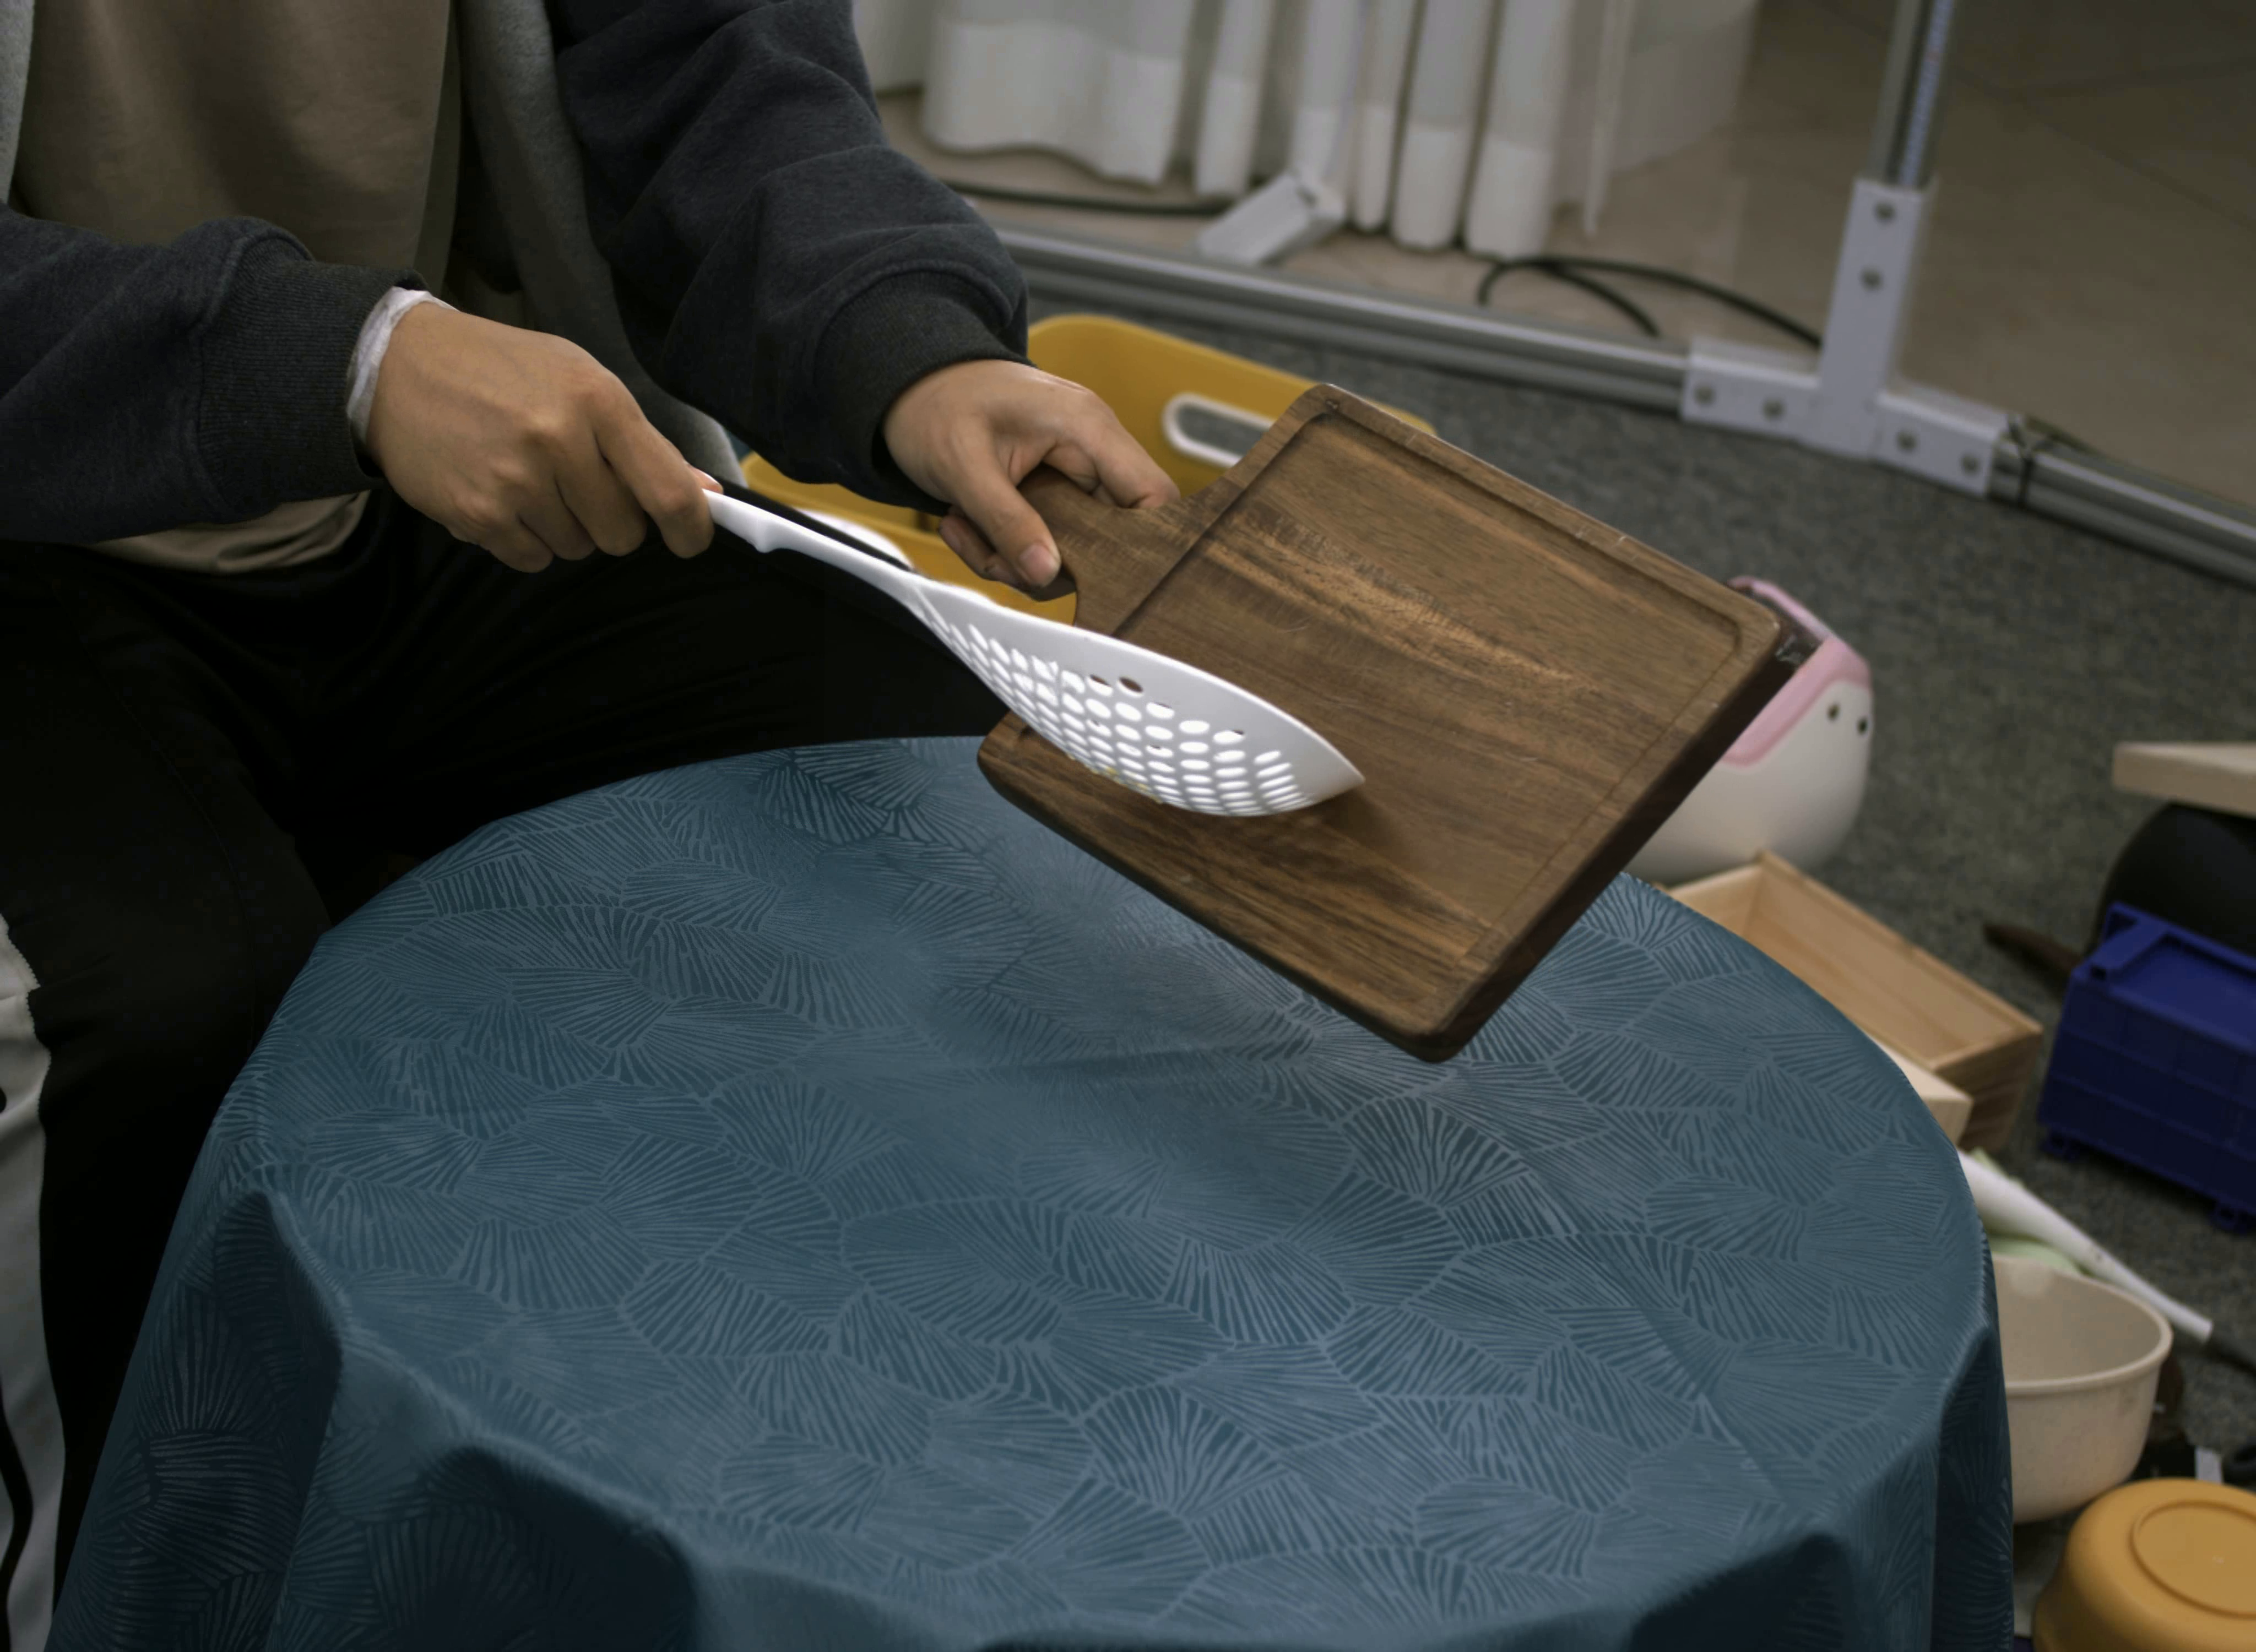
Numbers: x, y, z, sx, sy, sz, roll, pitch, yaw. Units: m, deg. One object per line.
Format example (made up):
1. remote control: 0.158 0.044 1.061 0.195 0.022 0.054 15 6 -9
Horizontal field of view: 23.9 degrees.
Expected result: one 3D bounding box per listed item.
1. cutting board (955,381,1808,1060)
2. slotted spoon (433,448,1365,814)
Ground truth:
1. cutting board: 0.056 -0.062 1.889 0.201 0.023 0.355 -47 46 -12
2. slotted spoon: -0.082 -0.076 1.830 0.349 0.050 0.136 26 -4 17
